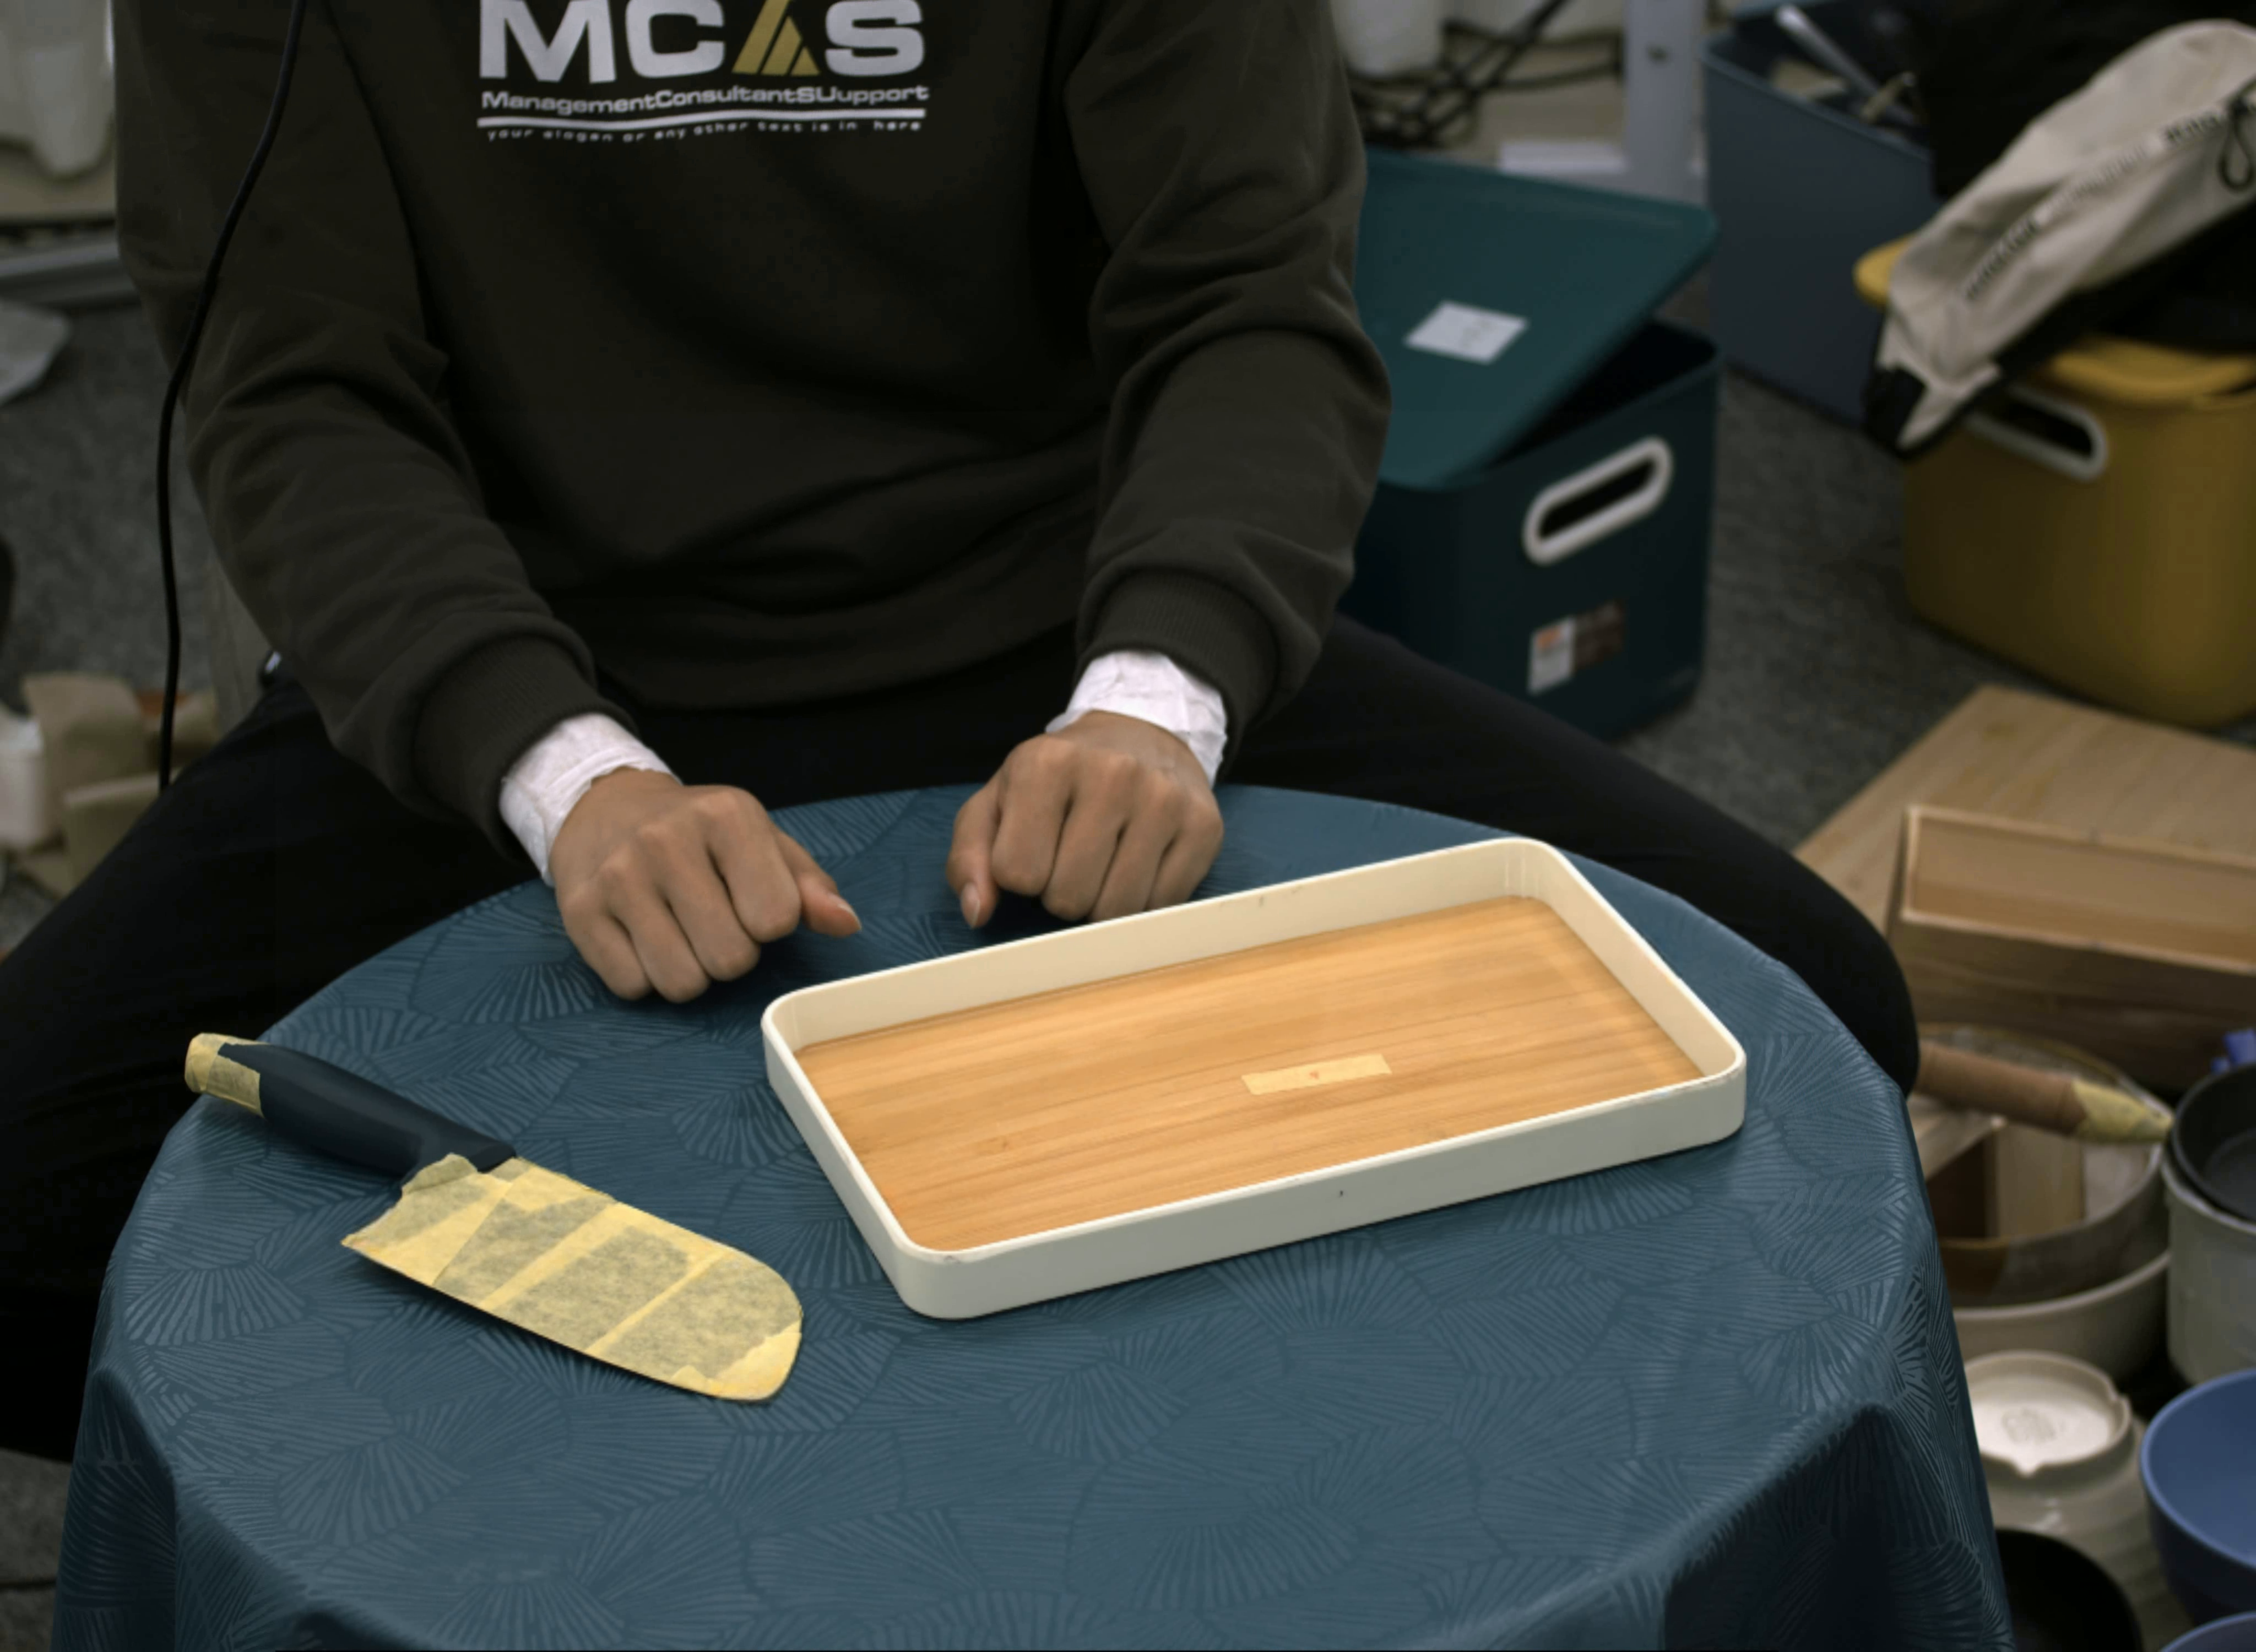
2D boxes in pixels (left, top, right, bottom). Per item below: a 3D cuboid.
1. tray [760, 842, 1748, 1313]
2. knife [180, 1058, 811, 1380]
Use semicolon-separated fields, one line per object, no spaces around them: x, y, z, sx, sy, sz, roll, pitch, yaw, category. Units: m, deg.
0.040;0.081;1.907;0.301;0.027;0.193;-11;27;-17;tray
-0.217;0.131;1.848;0.288;0.027;0.082;19;32;34;knife
